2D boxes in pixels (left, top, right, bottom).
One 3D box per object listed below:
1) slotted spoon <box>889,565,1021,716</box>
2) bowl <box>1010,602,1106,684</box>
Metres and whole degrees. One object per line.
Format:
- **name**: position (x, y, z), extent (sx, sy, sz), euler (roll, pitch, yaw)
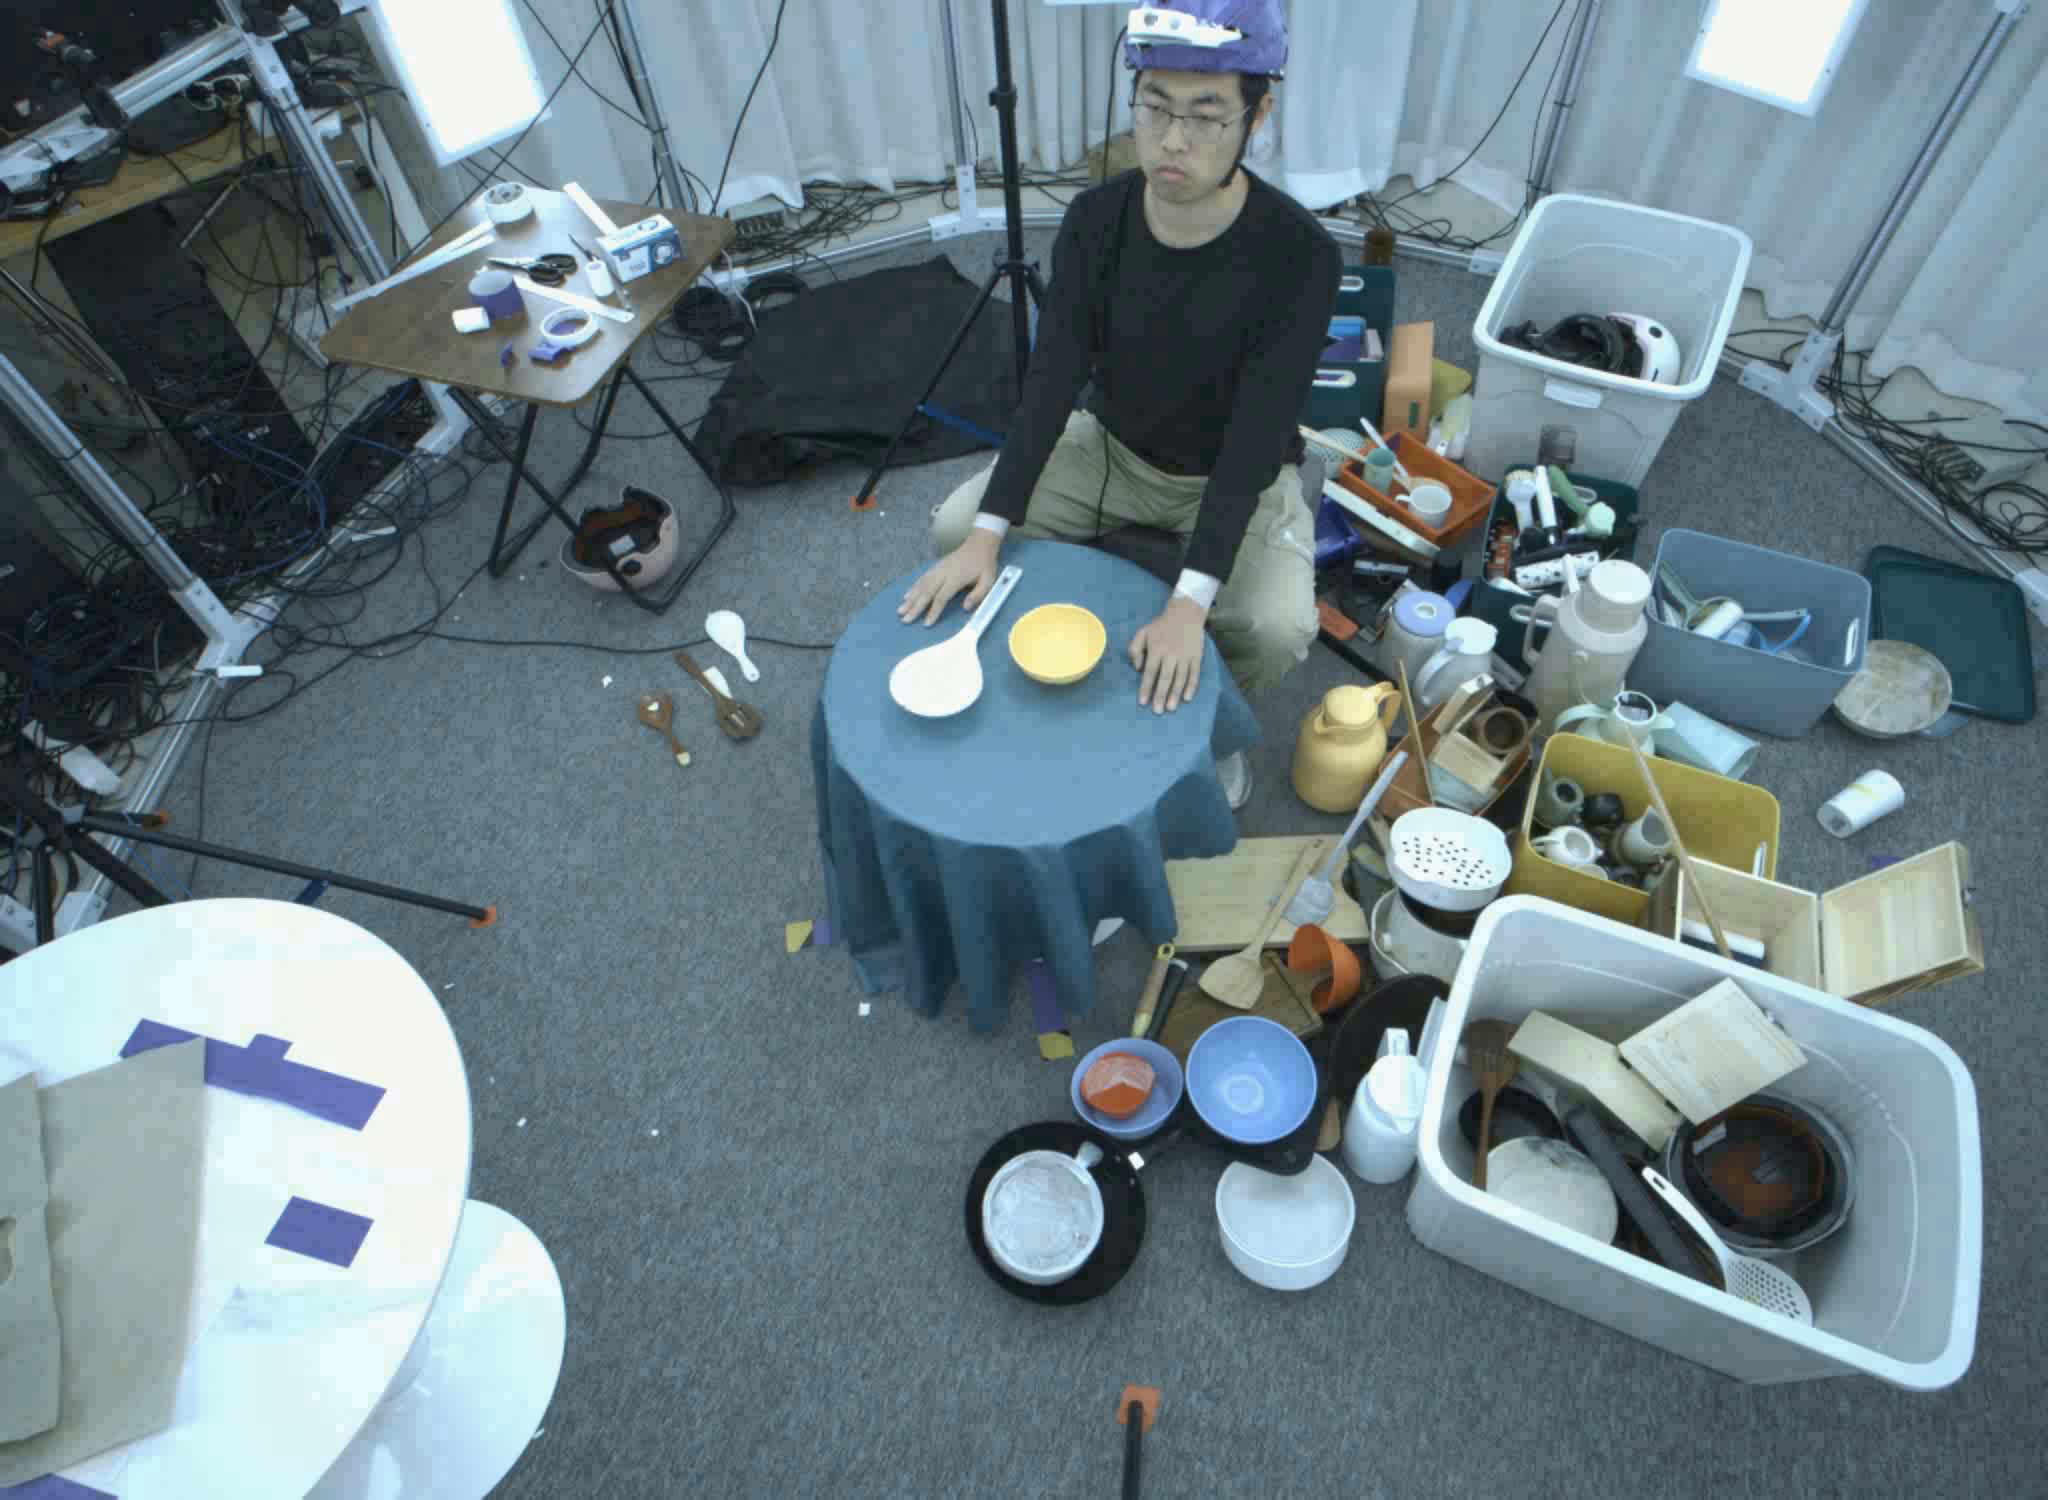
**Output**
- **slotted spoon**: position (-0.088, -0.173, 1.884), extent (0.134, 0.046, 0.350), euler (19, 57, 14)
- **bowl**: position (0.052, -0.150, 1.858), extent (0.145, 0.061, 0.144), euler (0, 57, 2)
